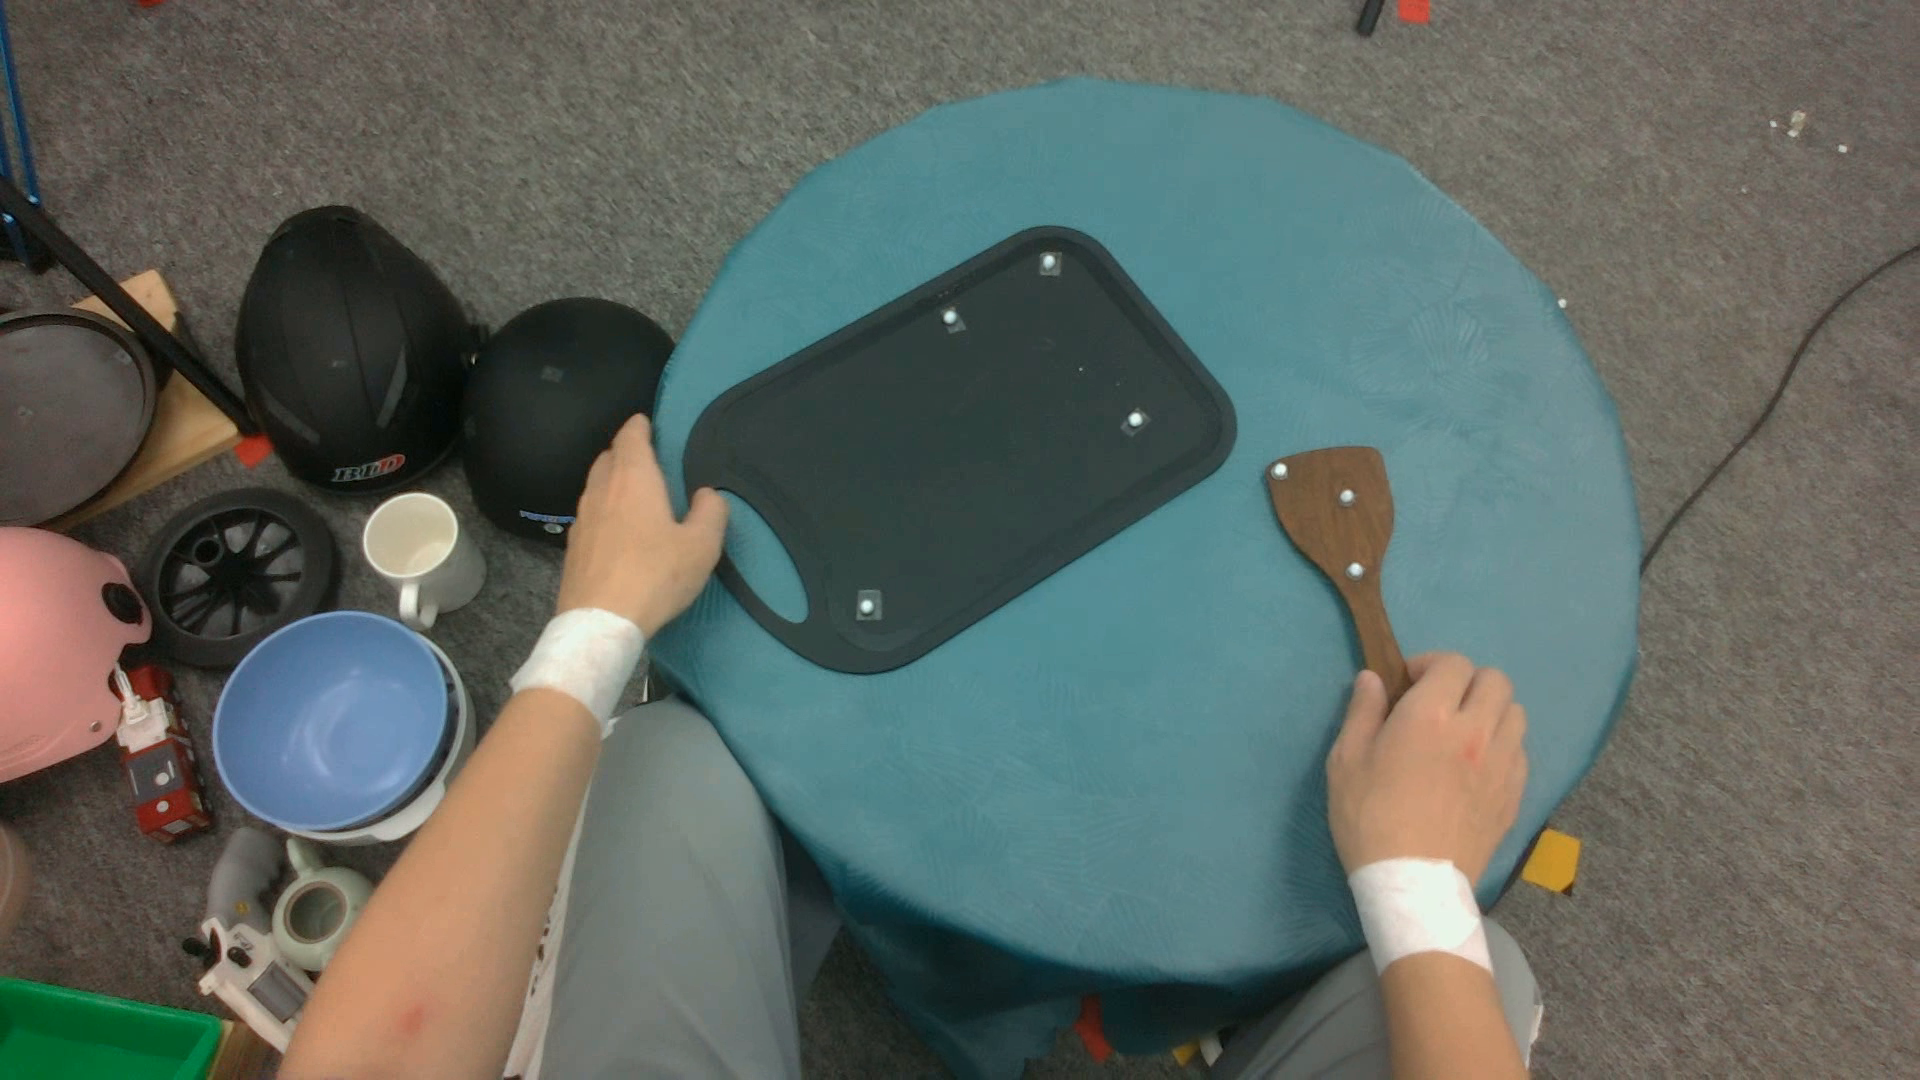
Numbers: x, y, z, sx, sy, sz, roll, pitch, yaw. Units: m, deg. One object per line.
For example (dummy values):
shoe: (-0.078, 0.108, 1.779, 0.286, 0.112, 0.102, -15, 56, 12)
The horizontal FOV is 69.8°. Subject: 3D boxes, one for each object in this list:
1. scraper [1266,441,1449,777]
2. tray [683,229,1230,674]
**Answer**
scraper: (0.240, 0.036, 0.805, 0.076, 0.011, 0.212, -9, 63, -3)
tray: (-0.006, -0.060, 0.845, 0.326, 0.010, 0.211, -32, 71, -15)
